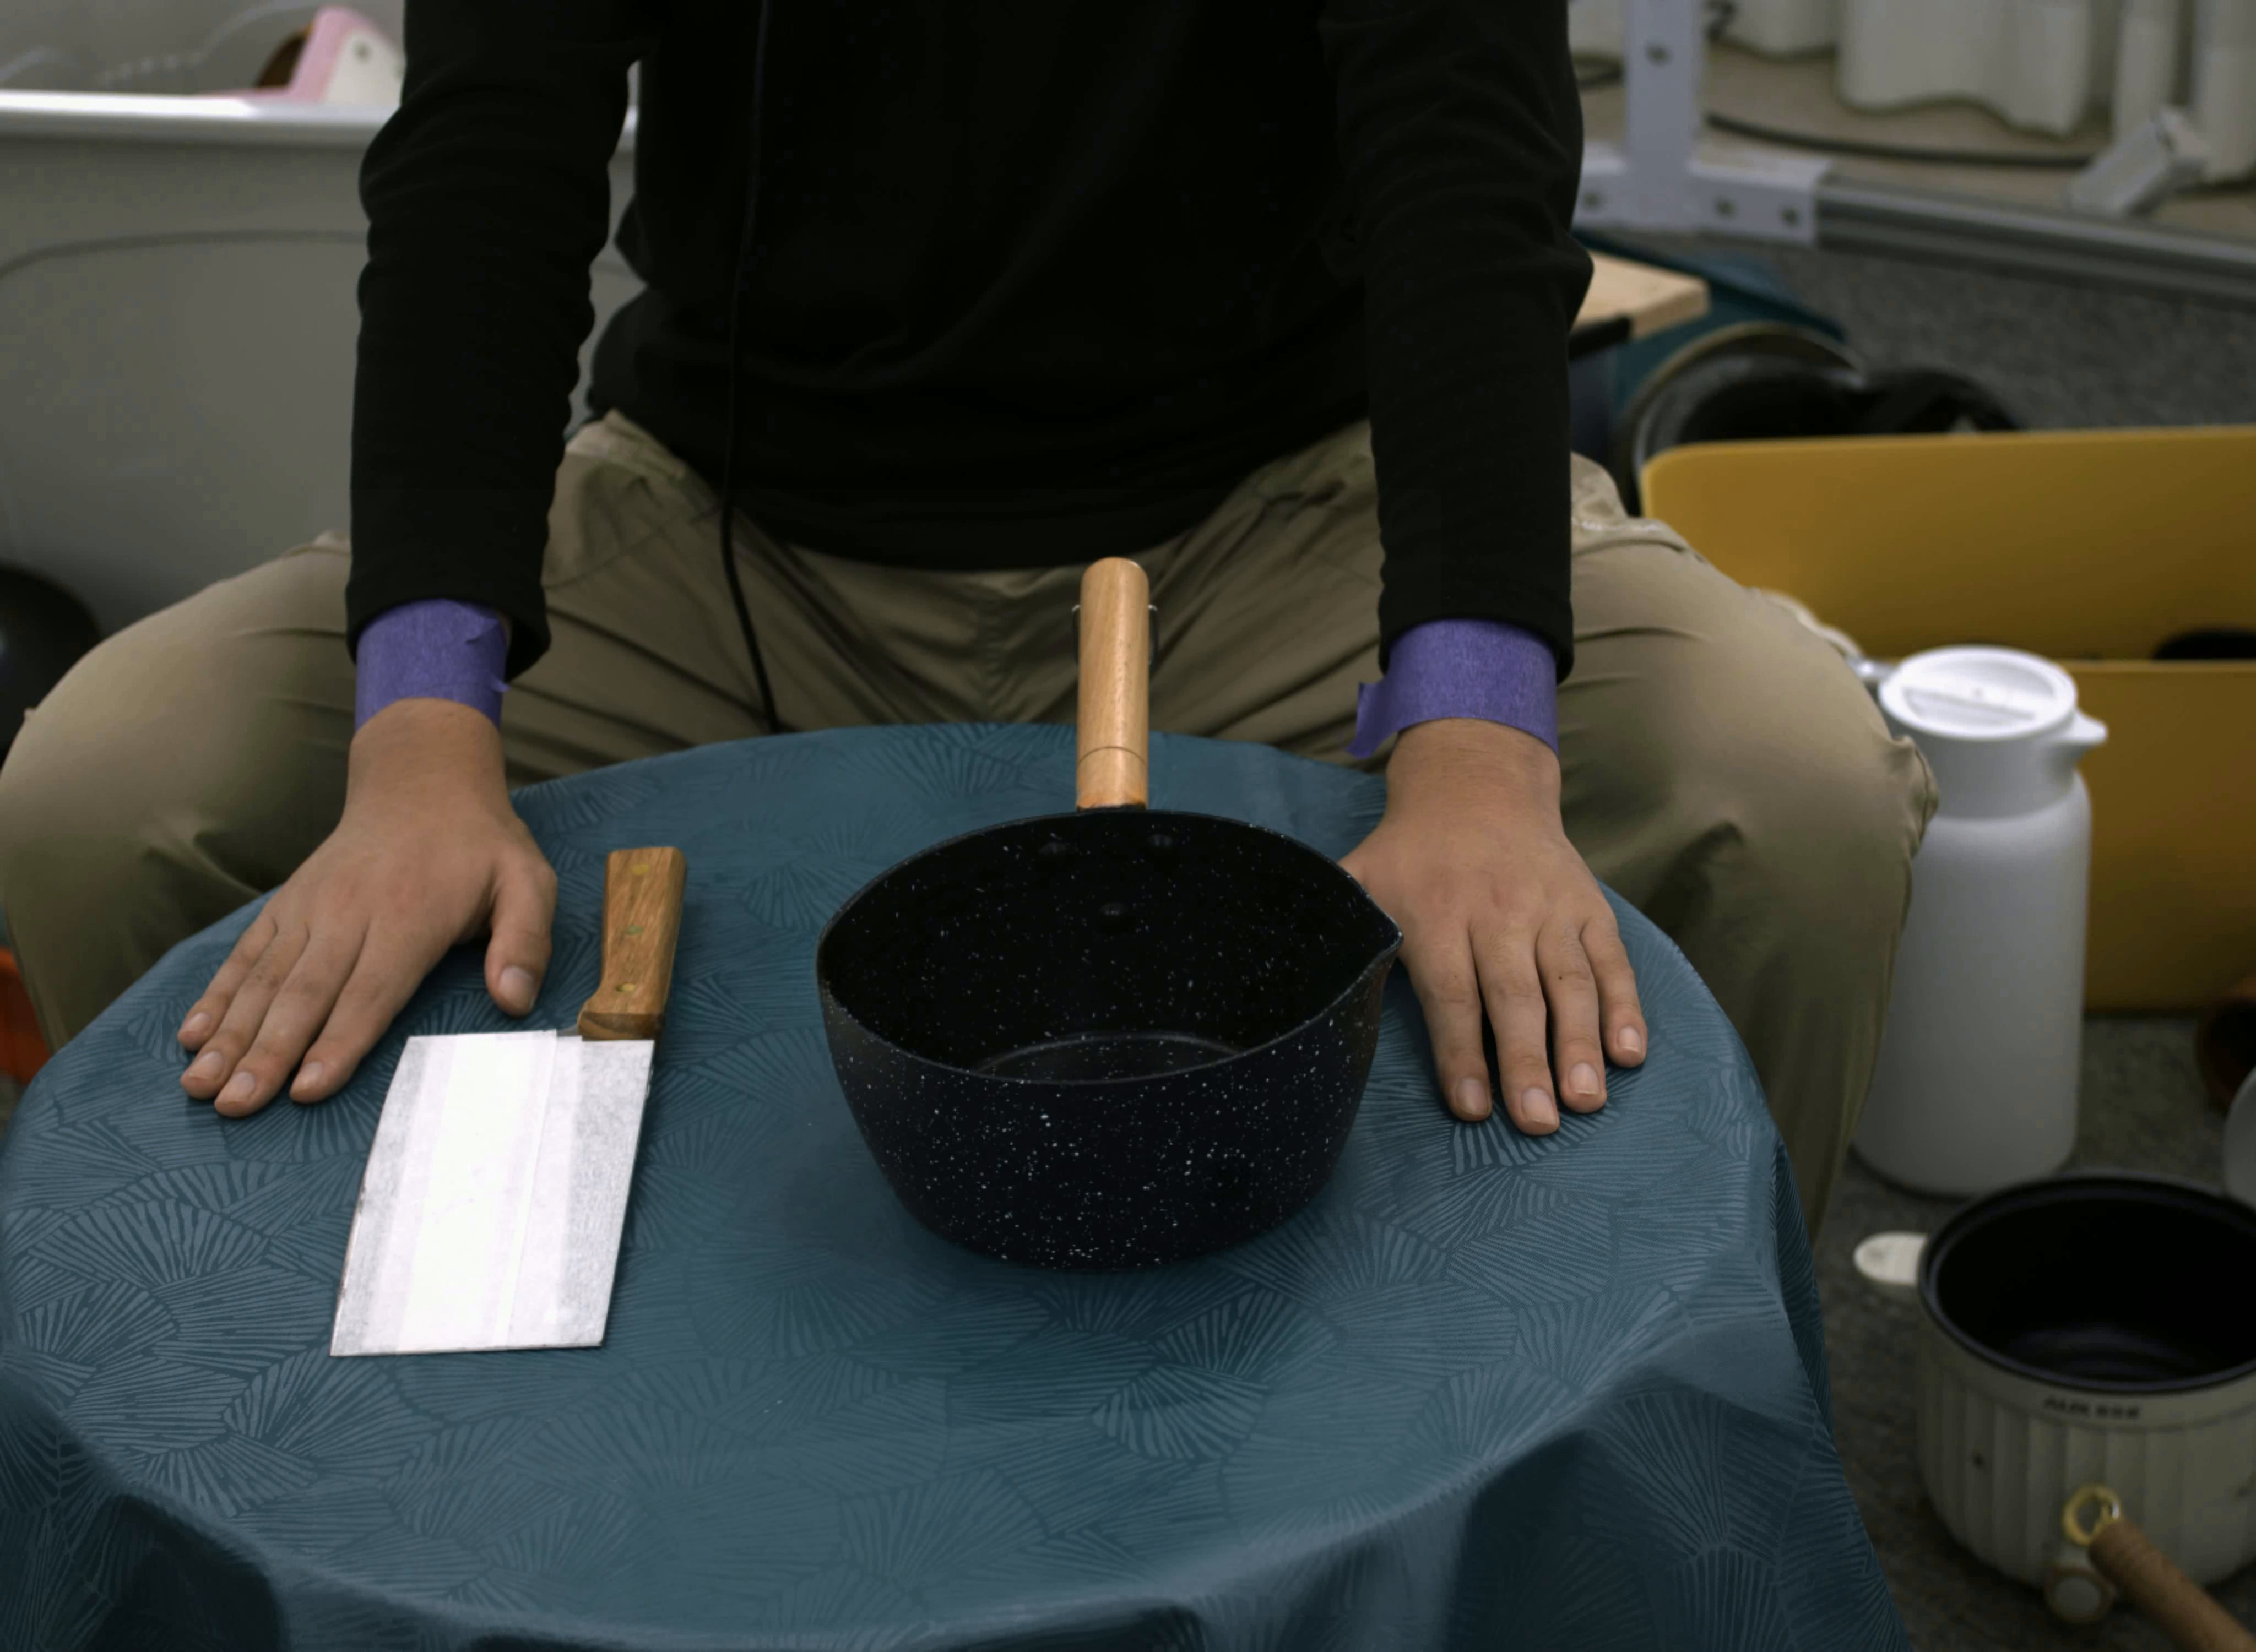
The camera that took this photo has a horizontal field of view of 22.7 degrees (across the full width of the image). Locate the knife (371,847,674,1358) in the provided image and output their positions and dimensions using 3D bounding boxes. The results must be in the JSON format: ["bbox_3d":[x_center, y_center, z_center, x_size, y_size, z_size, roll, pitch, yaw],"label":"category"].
[{"bbox_3d":[-0.207,0.092,1.920,0.092,0.021,0.311,-3,29,3],"label":"knife"}]

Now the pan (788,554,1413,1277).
[{"bbox_3d":[-0.008,0.027,1.928,0.206,0.107,0.348,-3,28,1],"label":"pan"}]
